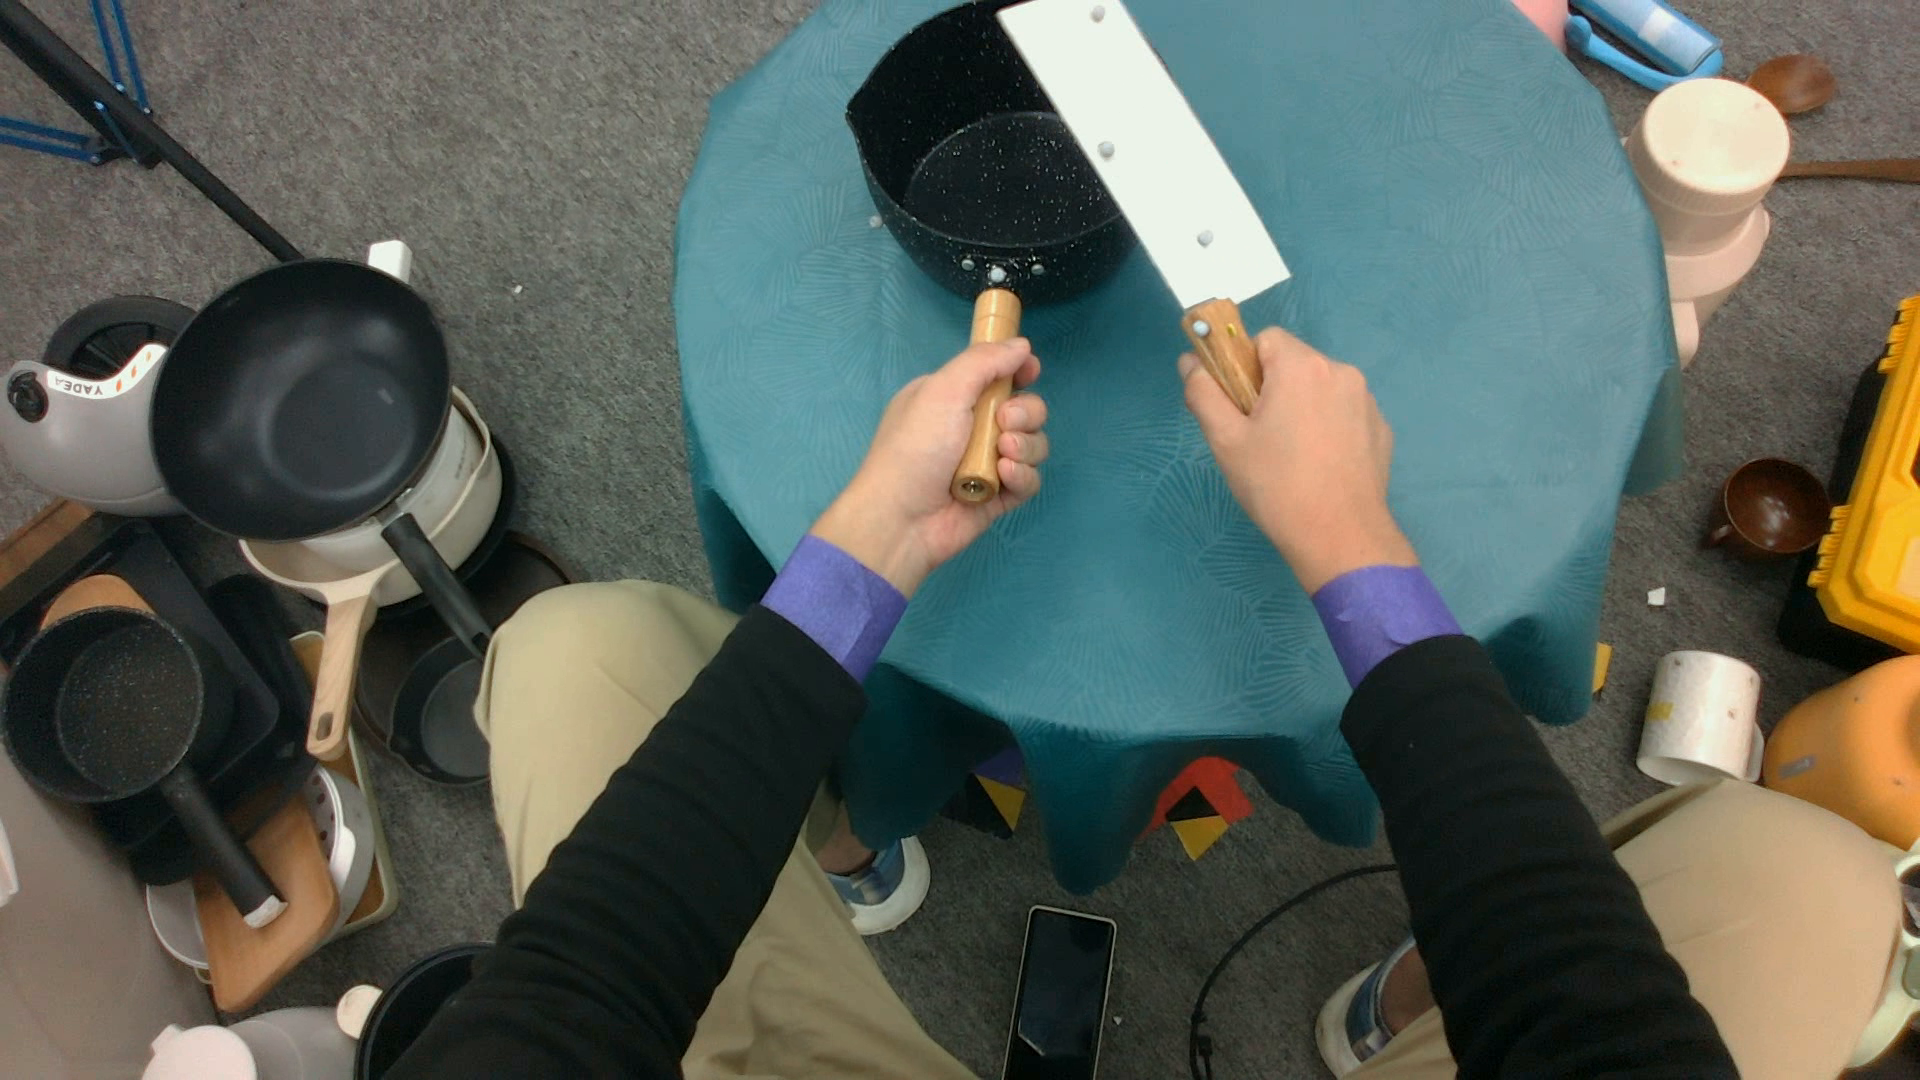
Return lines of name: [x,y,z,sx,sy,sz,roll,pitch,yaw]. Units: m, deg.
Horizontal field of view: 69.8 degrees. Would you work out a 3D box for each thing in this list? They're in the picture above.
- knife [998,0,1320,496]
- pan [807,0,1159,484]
knife: [0.119,-0.171,0.731,0.093,0.021,0.306,-29,90,-37]
pan: [0.011,-0.168,0.782,0.207,0.108,0.344,2,65,4]
